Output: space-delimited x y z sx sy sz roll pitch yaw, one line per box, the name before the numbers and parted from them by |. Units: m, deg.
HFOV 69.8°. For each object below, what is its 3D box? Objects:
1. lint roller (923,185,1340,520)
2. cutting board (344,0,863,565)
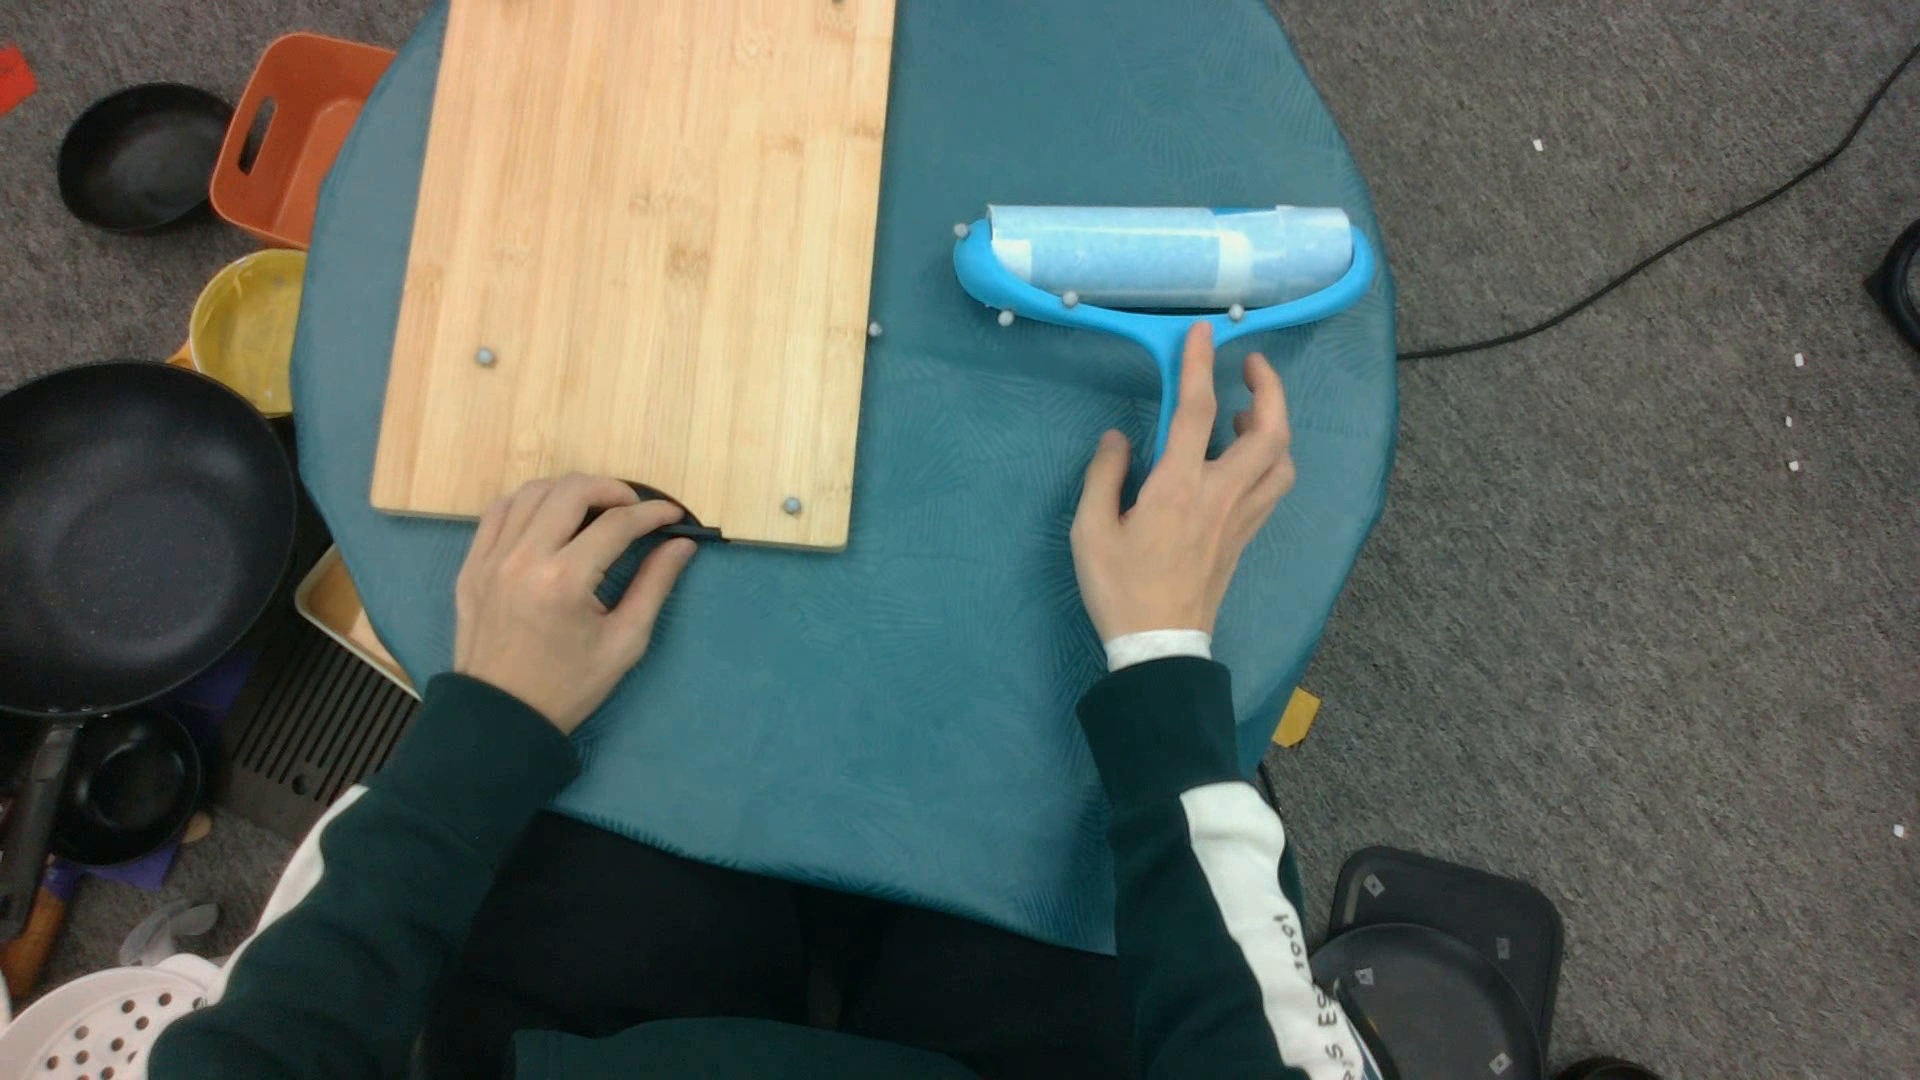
lint roller | 0.101 -0.105 0.740 0.229 0.068 0.180 -5 78 -8
cutting board | -0.183 -0.162 0.745 0.251 0.023 0.349 2 78 -5
